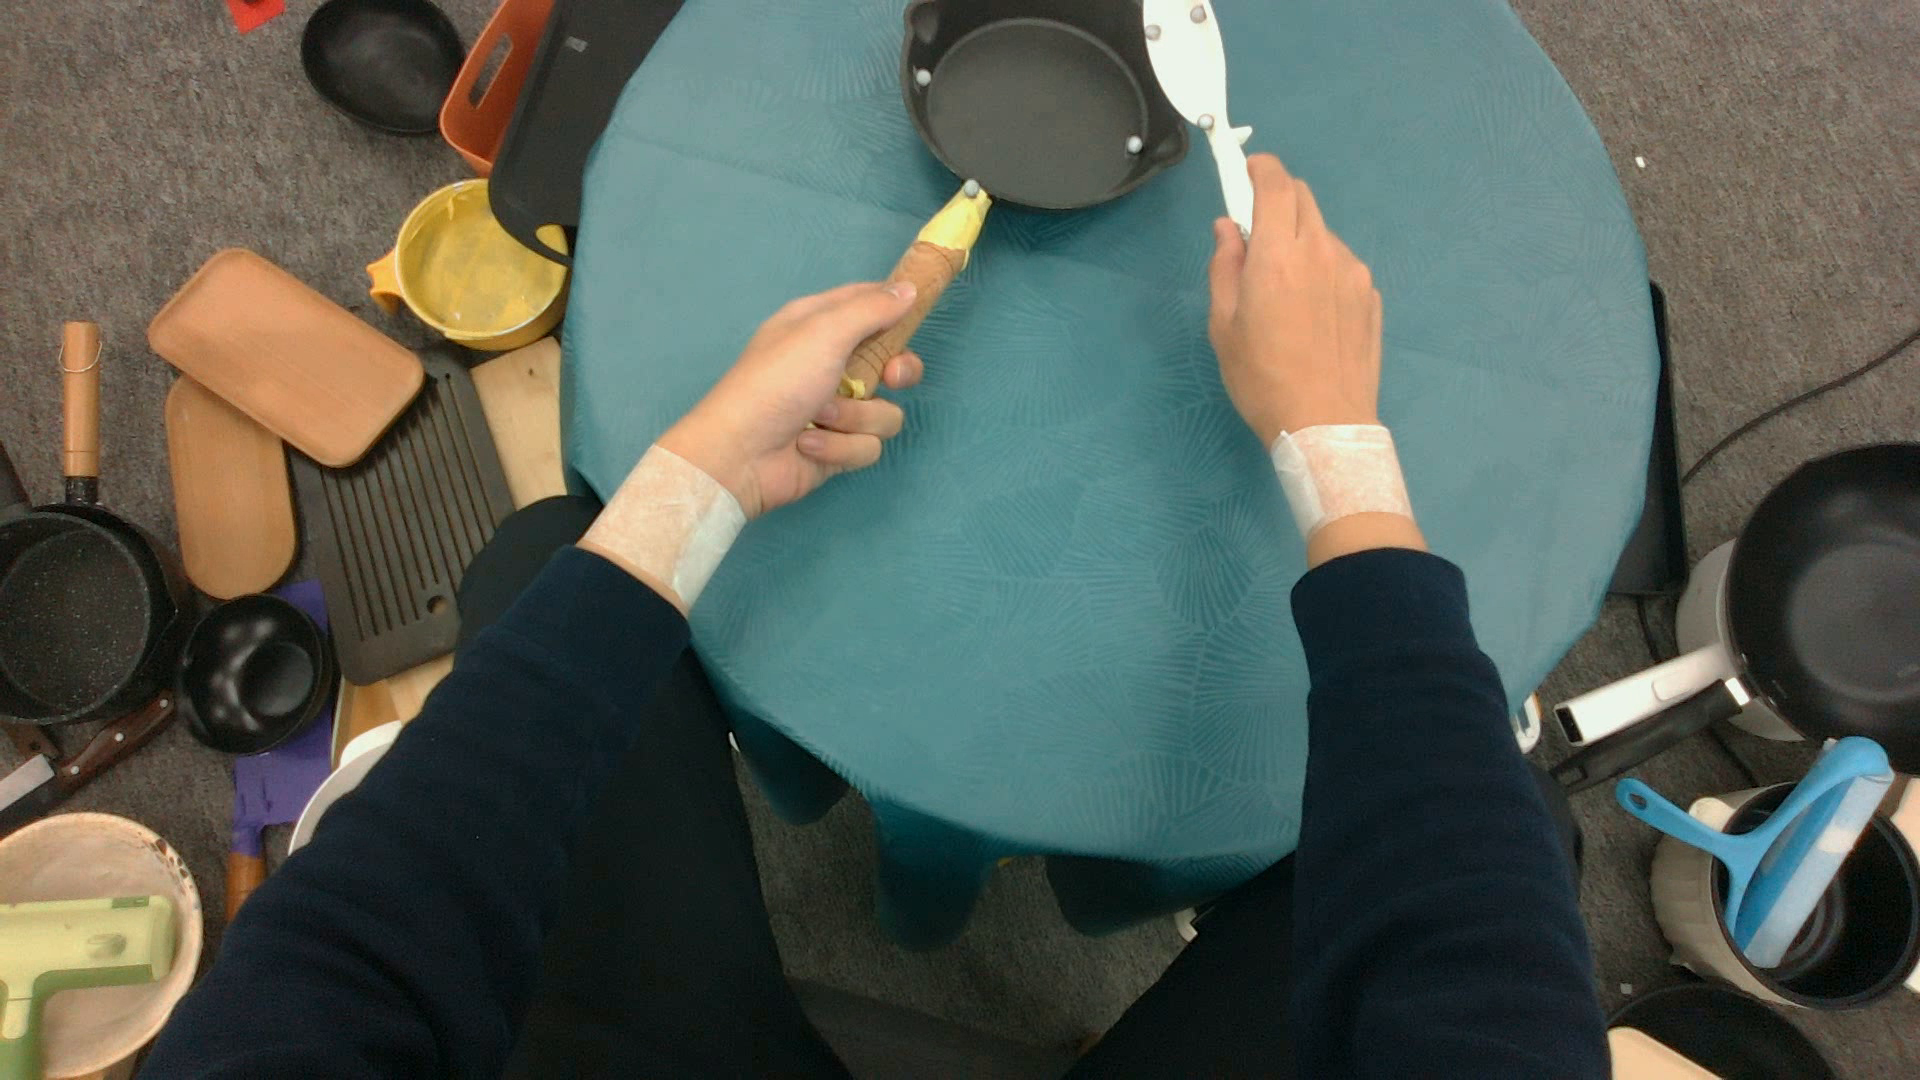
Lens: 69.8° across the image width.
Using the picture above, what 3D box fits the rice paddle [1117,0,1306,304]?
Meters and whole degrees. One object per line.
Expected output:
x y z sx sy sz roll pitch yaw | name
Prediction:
0.122 -0.217 0.711 0.029 0.068 0.205 -17 75 -17 | rice paddle

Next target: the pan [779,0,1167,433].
-0.007 -0.181 0.716 0.169 0.049 0.325 30 68 3 | pan
